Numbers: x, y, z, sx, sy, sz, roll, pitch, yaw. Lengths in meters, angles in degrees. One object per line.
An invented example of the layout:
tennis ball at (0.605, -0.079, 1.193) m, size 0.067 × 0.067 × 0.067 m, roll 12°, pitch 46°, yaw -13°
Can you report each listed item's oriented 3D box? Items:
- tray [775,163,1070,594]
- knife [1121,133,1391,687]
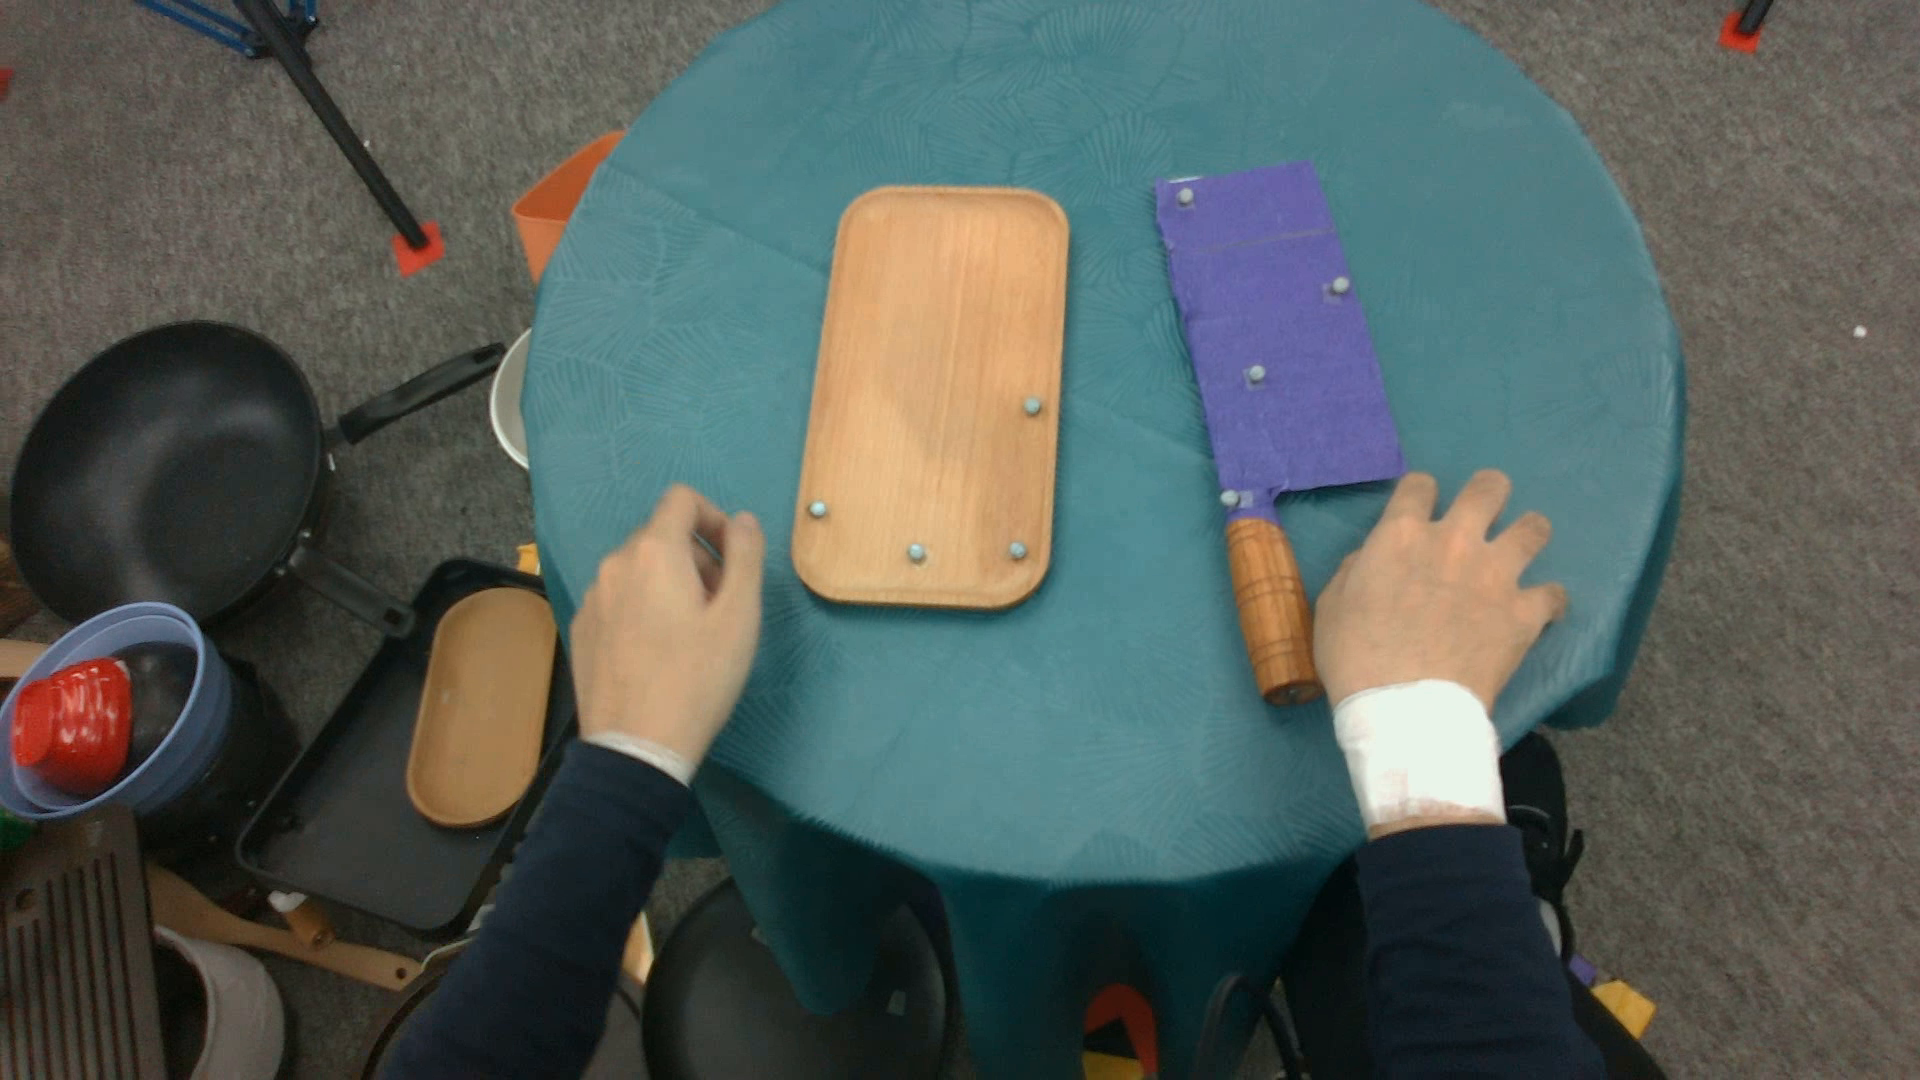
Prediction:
tray at (-0.015, -0.090, 0.709) m, size 0.130 × 0.023 × 0.251 m, roll 6°, pitch 65°, yaw 5°
knife at (0.159, -0.083, 0.686) m, size 0.104 × 0.032 × 0.316 m, roll -9°, pitch 64°, yaw 1°
